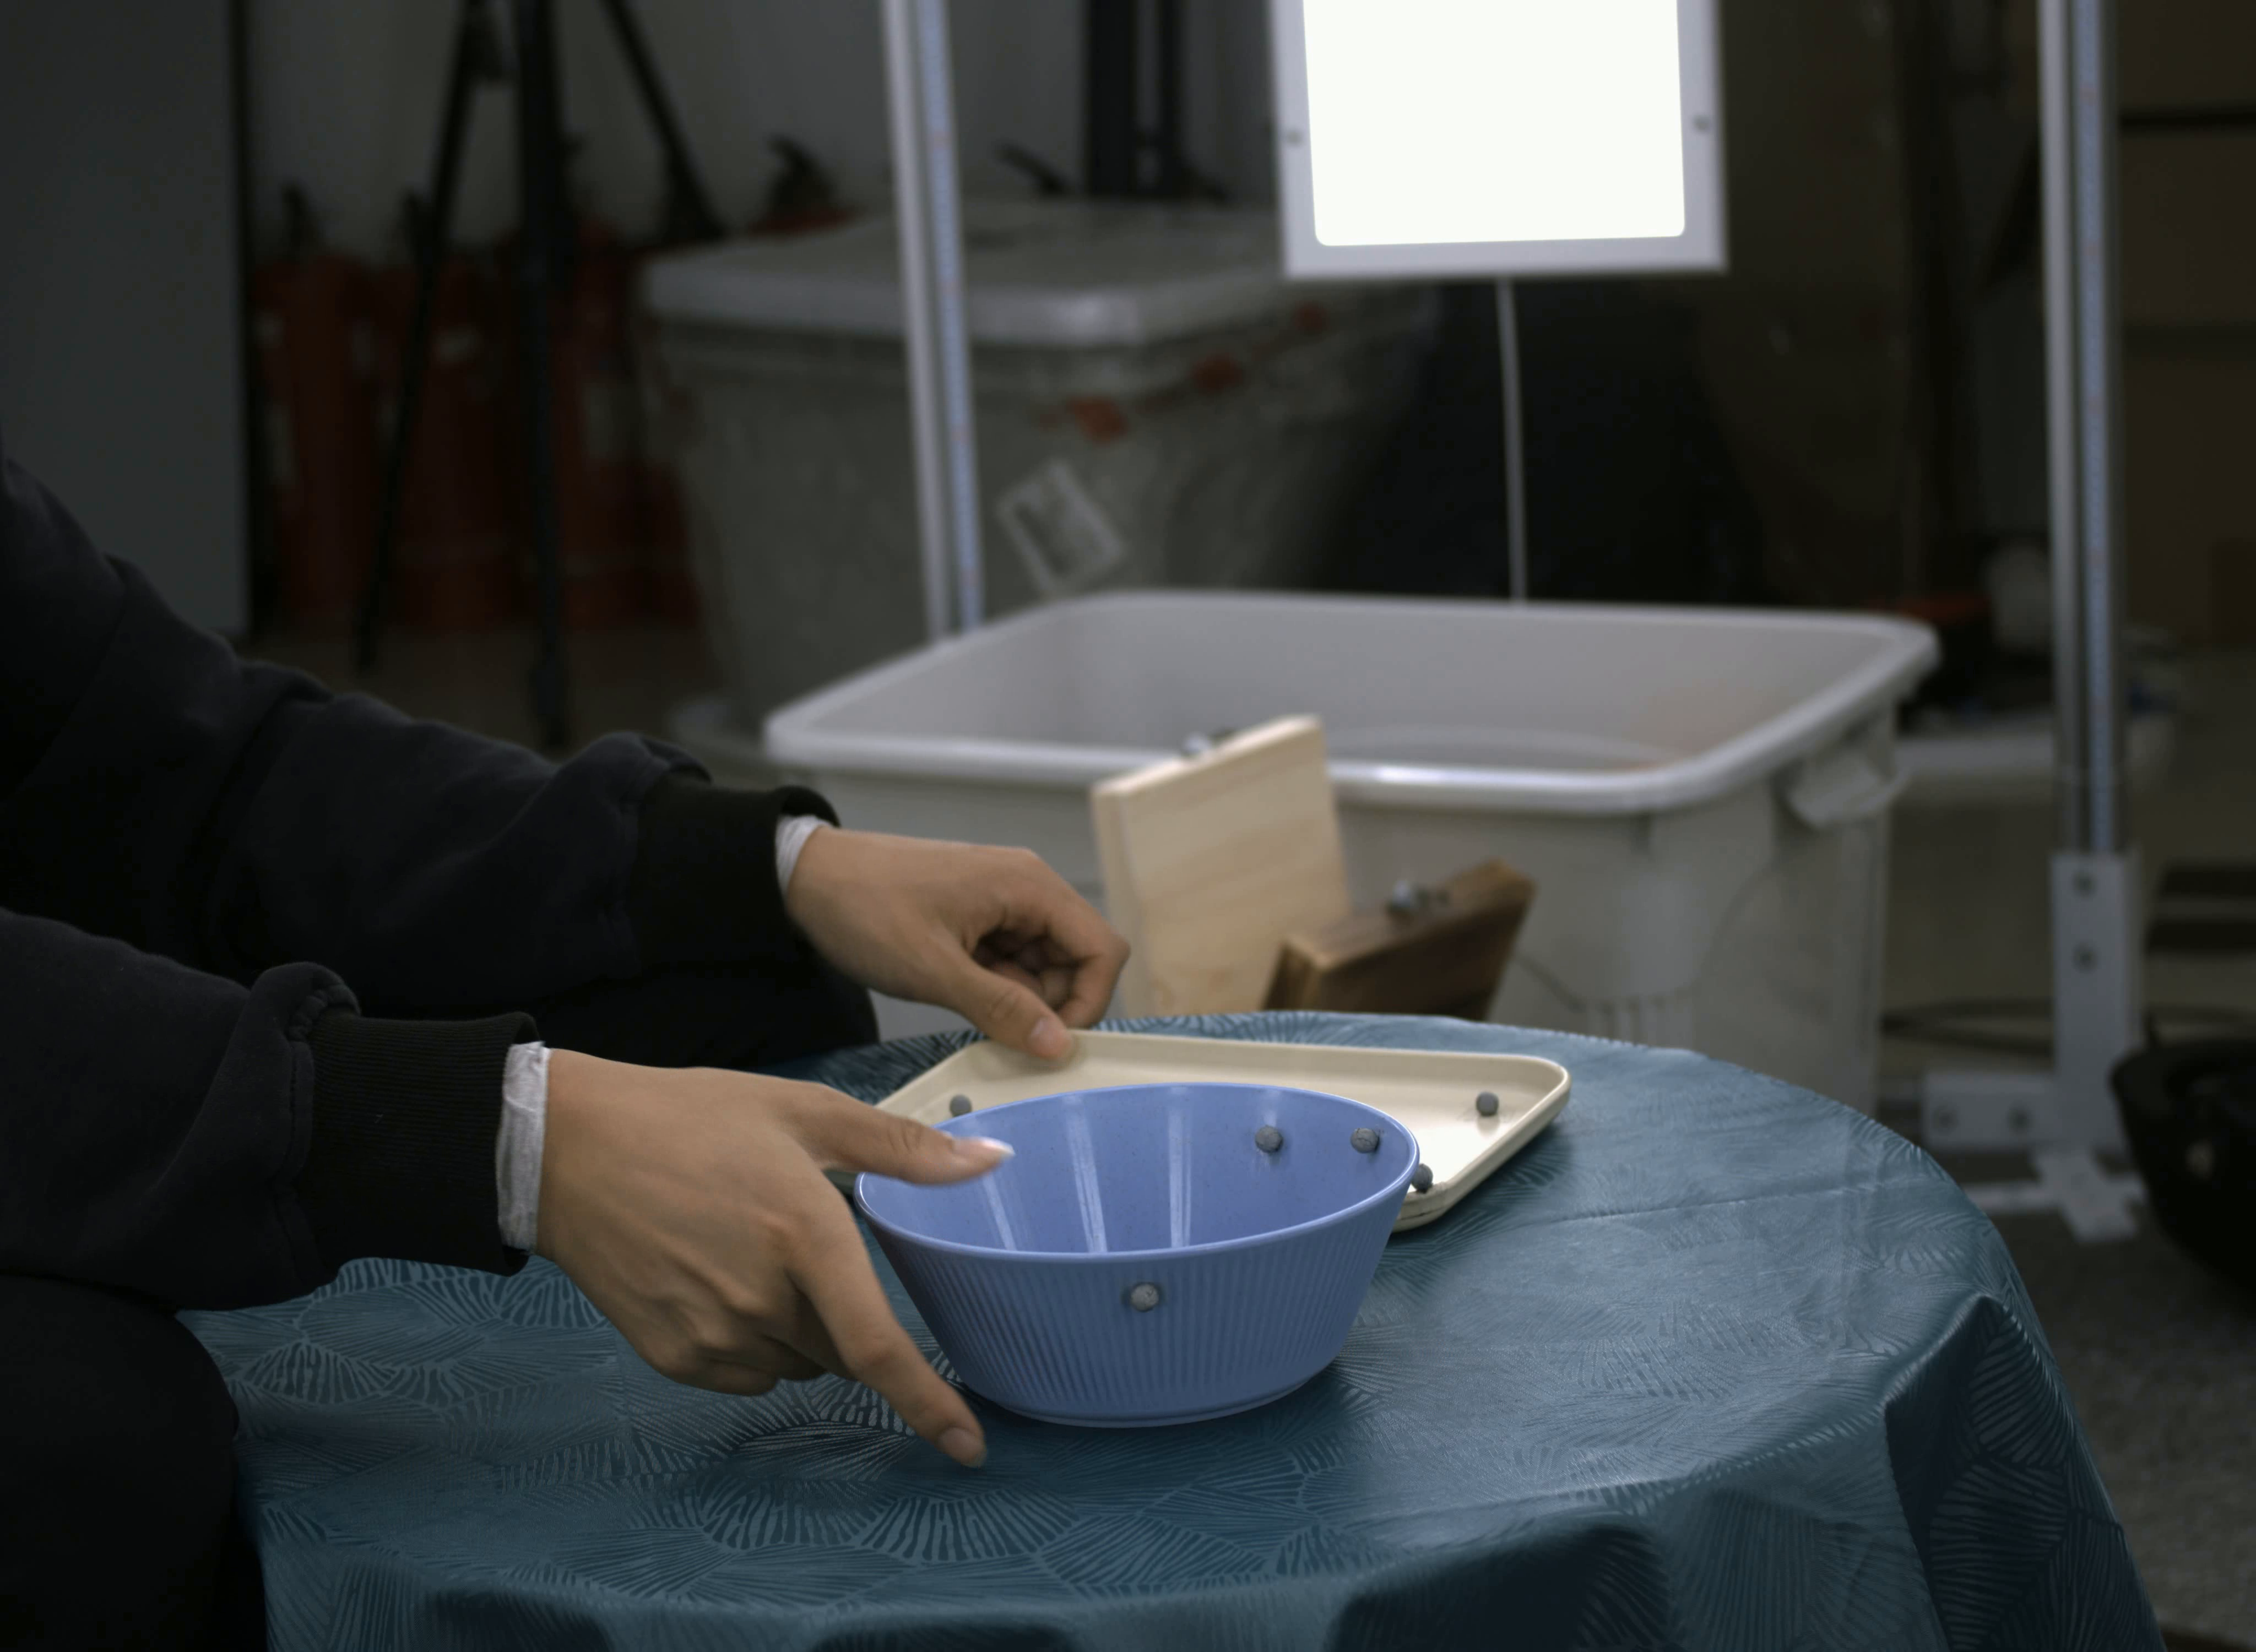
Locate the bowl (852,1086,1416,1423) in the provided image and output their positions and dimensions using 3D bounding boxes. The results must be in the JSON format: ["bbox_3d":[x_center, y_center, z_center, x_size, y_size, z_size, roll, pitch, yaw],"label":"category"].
[{"bbox_3d":[0.004,0.135,1.711,0.175,0.070,0.176,-4,14,0],"label":"bowl"}]

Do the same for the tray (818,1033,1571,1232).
[{"bbox_3d":[0.025,0.107,1.930,0.244,0.017,0.167,2,15,27],"label":"tray"}]
